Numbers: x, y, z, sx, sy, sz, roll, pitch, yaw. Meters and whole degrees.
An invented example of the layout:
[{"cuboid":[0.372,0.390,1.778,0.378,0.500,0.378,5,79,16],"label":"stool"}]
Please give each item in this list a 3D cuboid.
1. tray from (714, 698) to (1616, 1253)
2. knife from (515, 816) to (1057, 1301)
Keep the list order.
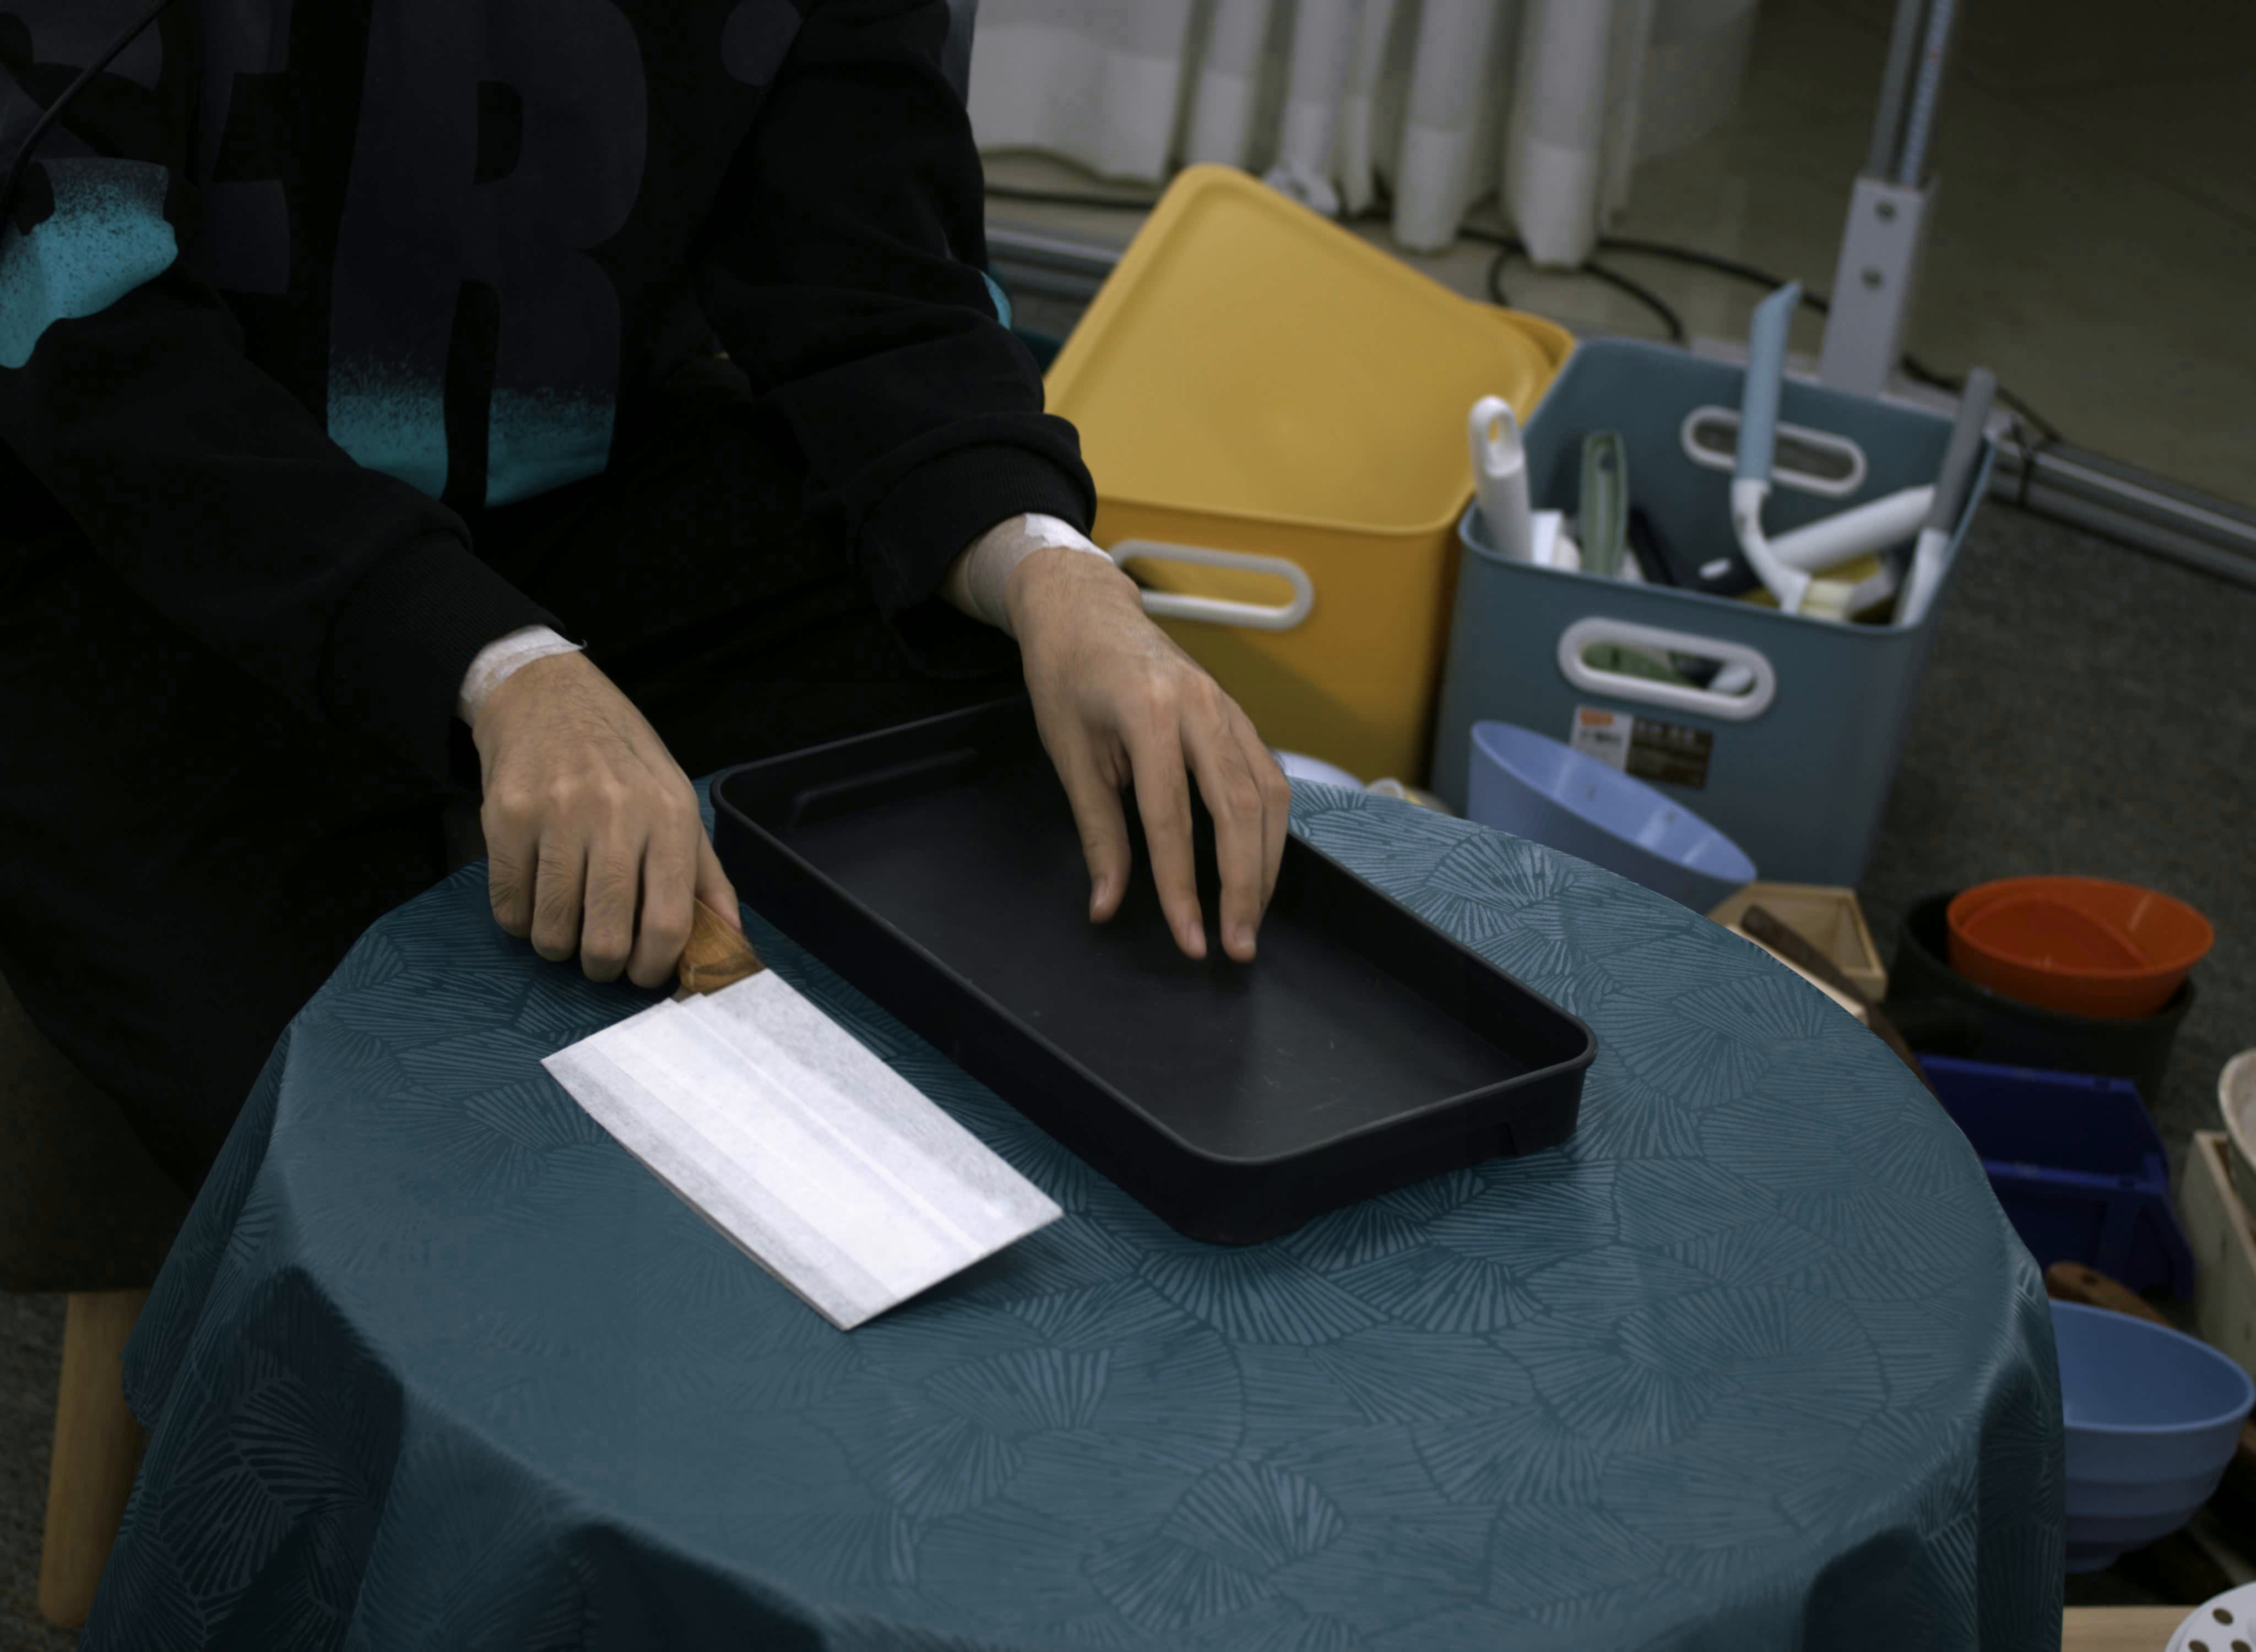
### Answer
[{"cuboid":[0.008,0.047,1.913,0.183,0.037,0.320,-16,34,-37],"label":"tray"},{"cuboid":[-0.144,0.080,1.832,0.092,0.021,0.308,-26,39,-26],"label":"knife"}]
